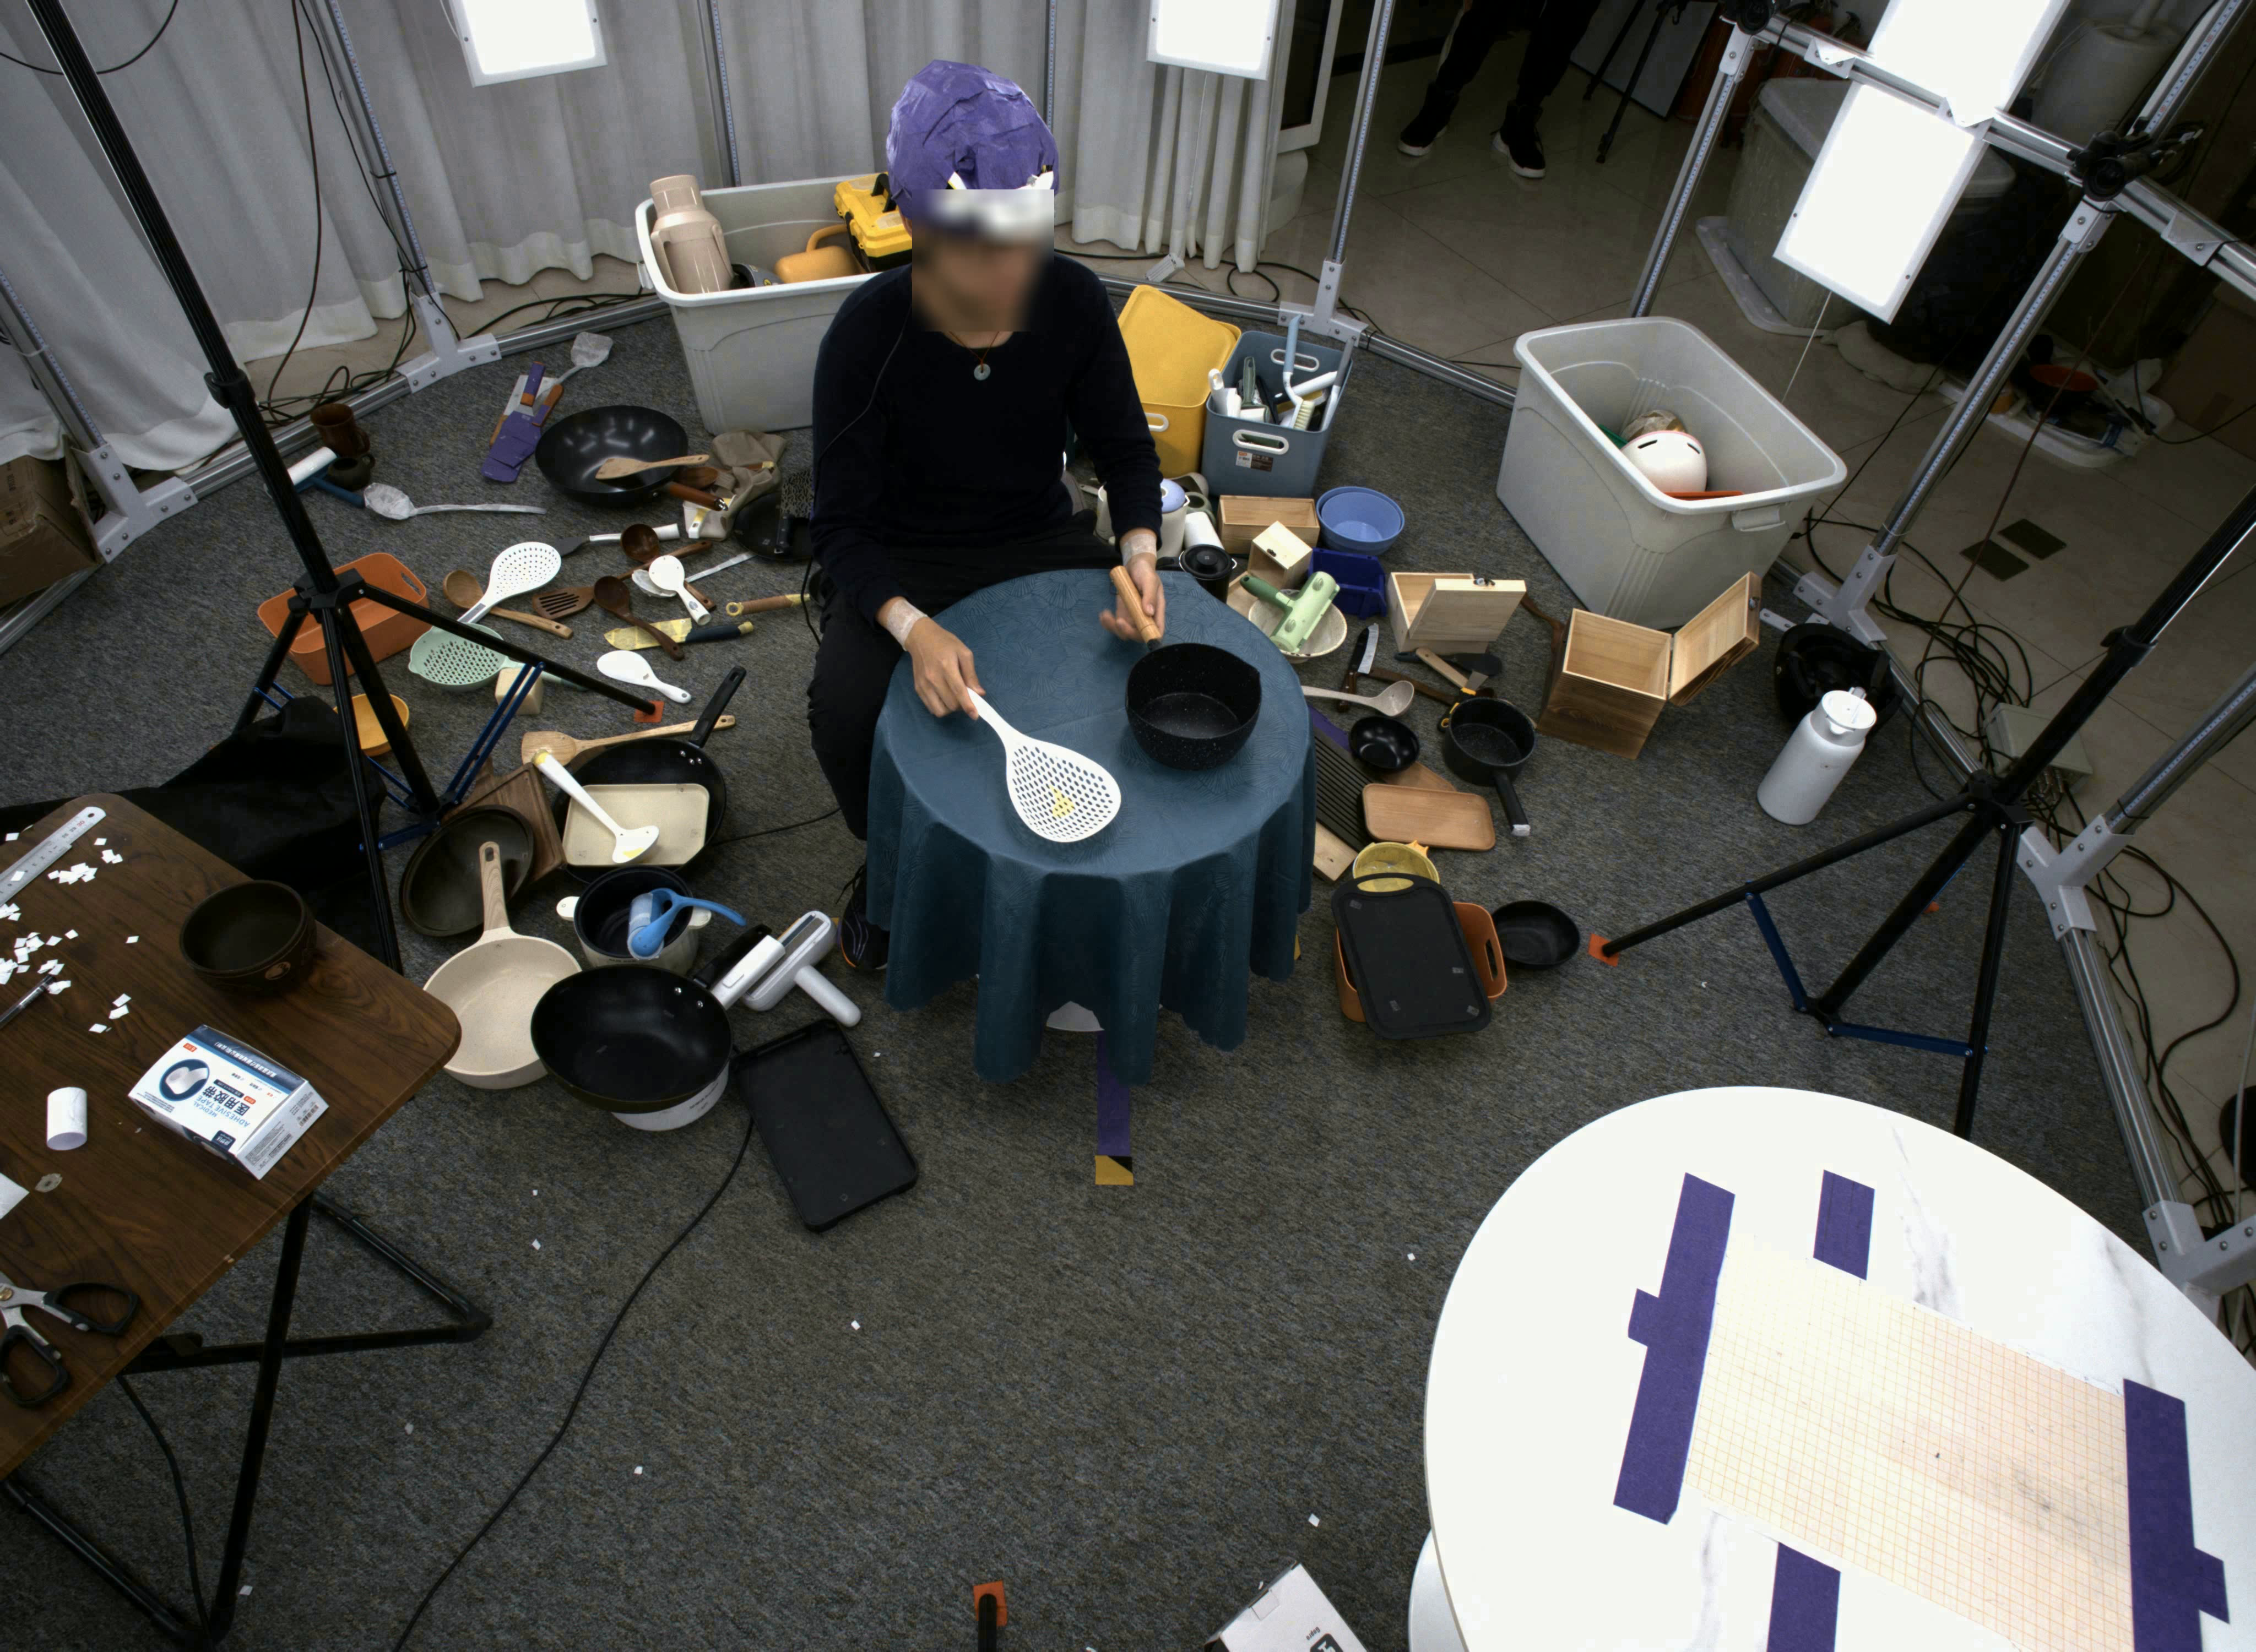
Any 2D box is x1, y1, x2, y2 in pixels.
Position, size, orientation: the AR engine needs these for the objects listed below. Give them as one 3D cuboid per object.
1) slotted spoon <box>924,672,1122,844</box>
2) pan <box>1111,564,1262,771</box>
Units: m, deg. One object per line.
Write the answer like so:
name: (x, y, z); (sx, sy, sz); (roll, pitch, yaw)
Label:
slotted spoon: (-0.152, -0.105, 1.699); (0.138, 0.049, 0.352); (-36, 70, -23)
pan: (0.052, -0.222, 1.795); (0.208, 0.105, 0.350); (-19, 54, -18)
